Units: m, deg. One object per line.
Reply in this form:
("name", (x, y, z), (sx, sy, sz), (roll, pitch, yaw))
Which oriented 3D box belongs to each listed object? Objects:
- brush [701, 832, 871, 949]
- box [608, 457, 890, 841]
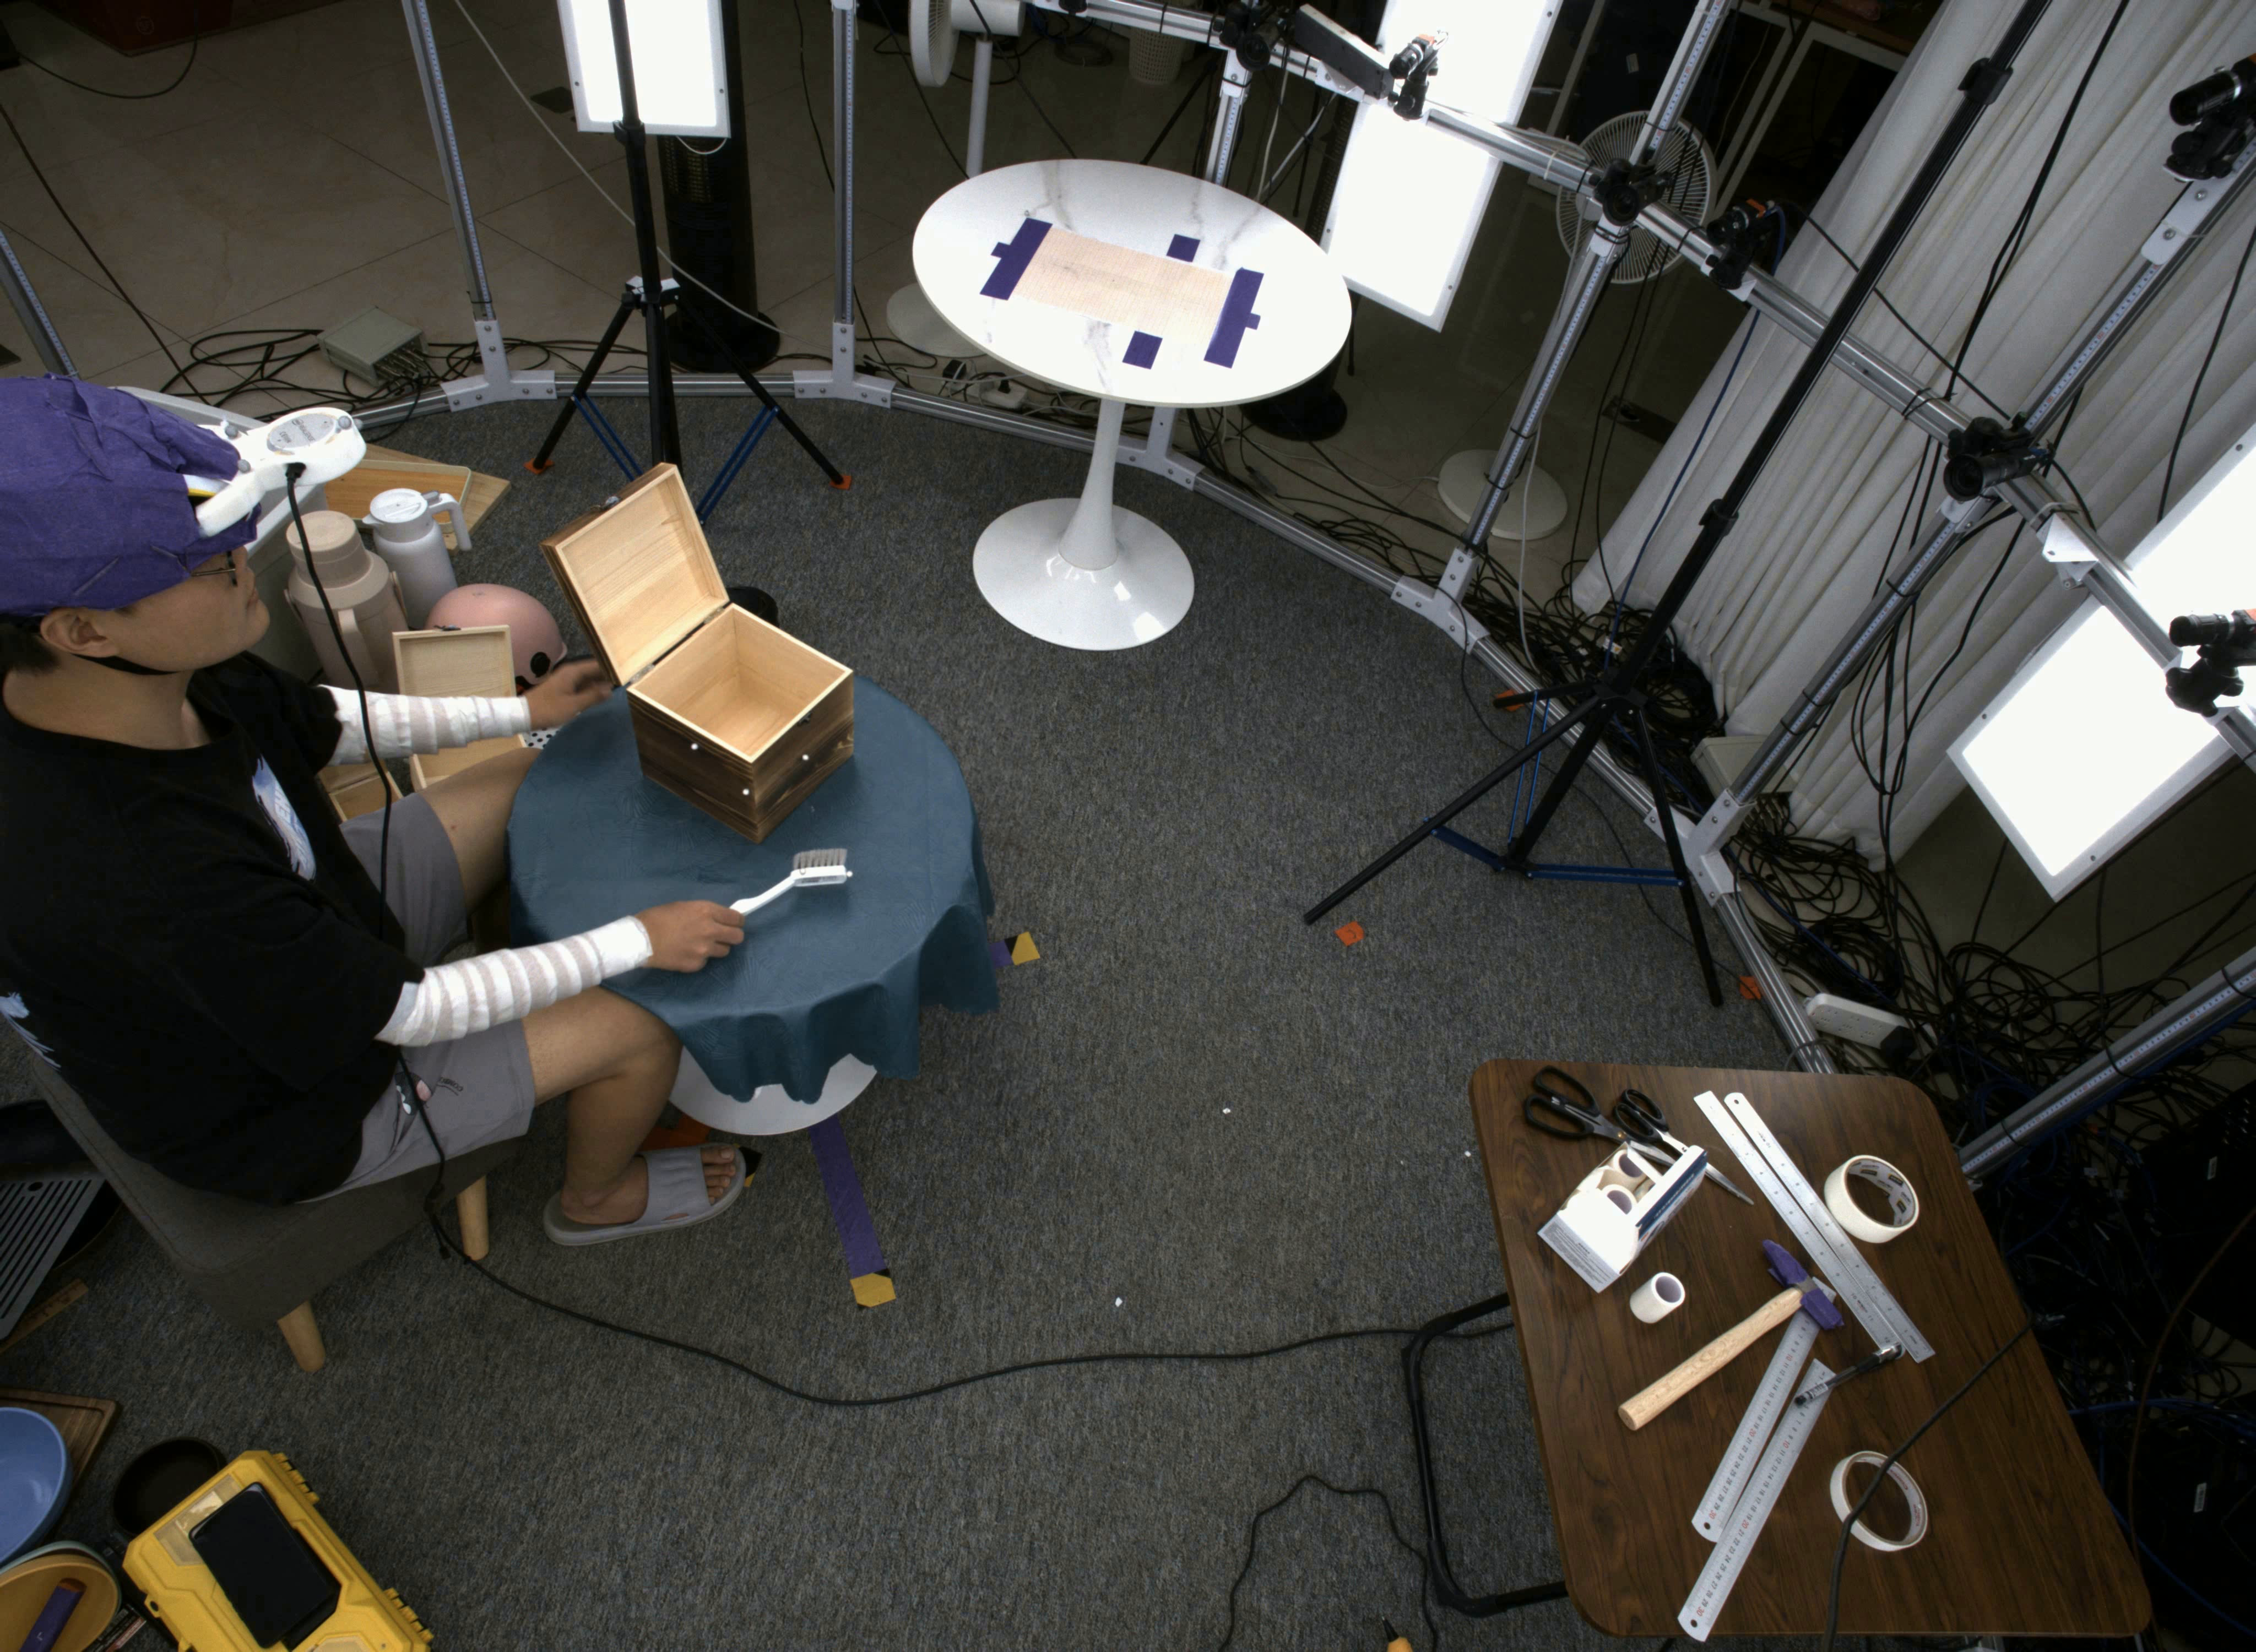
("brush", (-0.428, 0.073, 1.611), (0.244, 0.035, 0.049), (-30, 72, -24))
("box", (-0.489, -0.228, 1.653), (0.316, 0.383, 0.208), (30, 54, 11))
